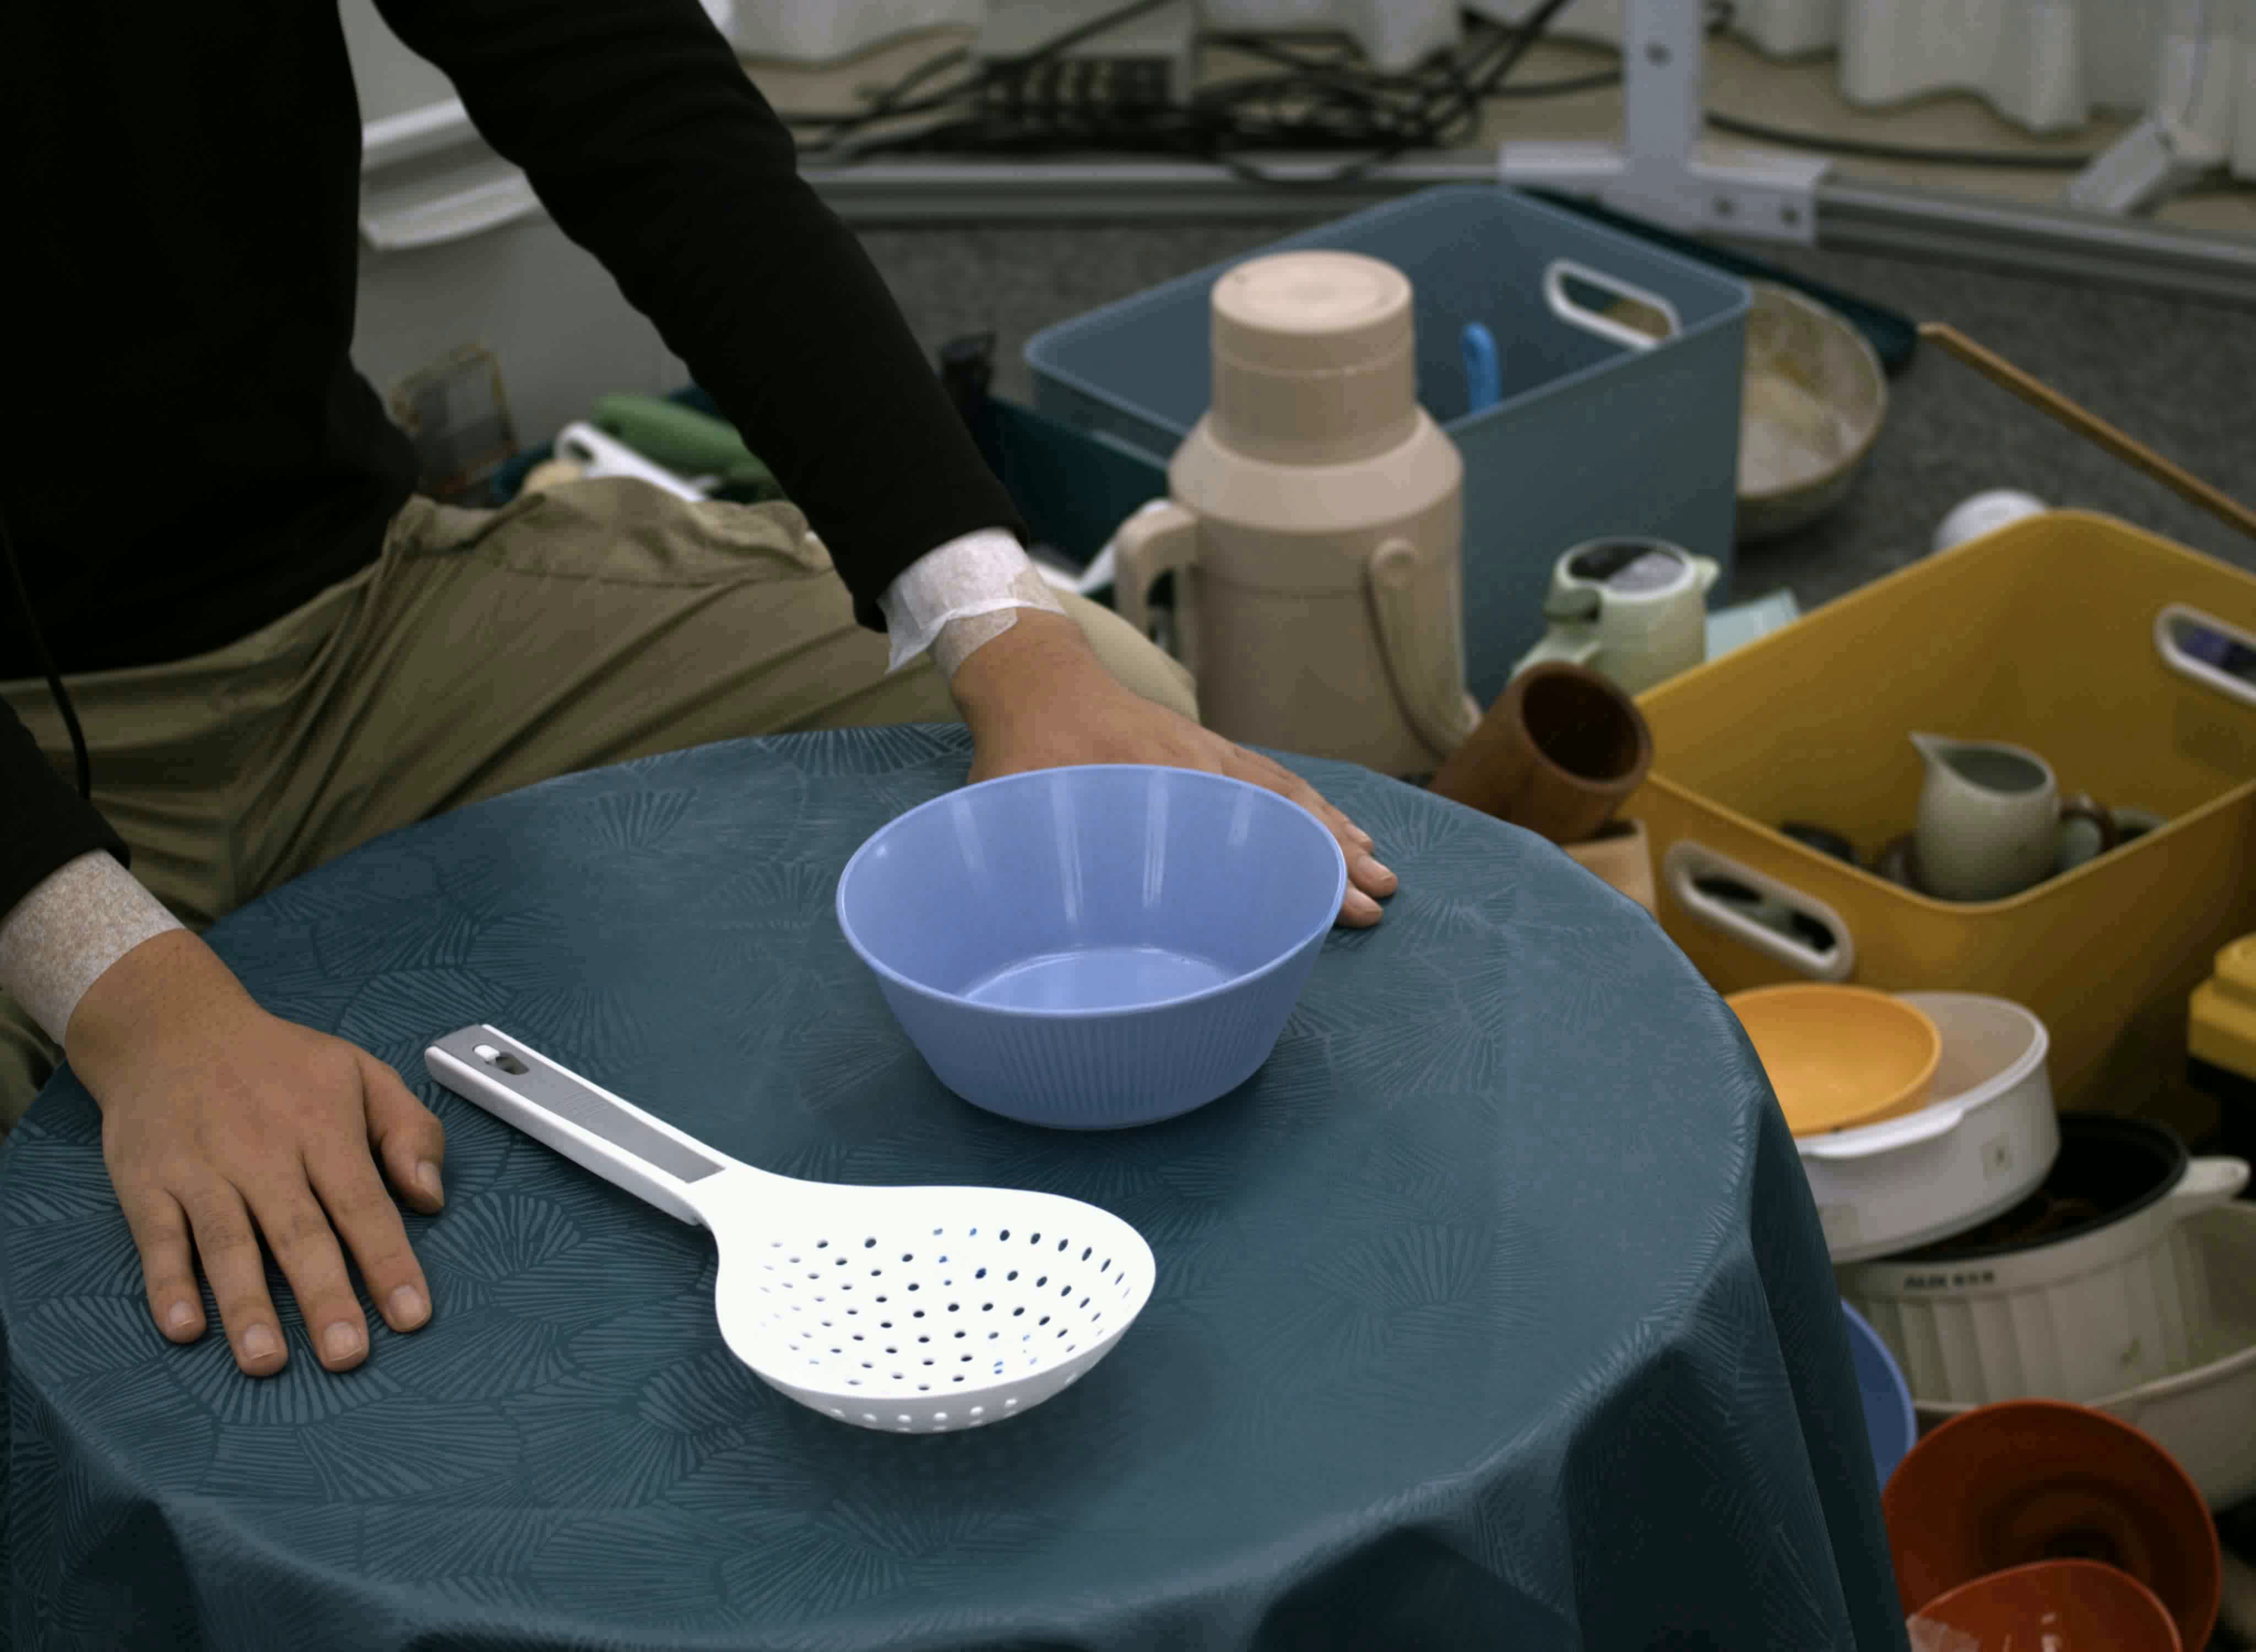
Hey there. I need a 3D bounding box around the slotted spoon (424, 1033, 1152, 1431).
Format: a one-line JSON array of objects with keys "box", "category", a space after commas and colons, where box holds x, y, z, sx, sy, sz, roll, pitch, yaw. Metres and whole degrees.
[{"box": [-0.127, 0.124, 1.821, 0.137, 0.045, 0.349, -23, 32, -33], "category": "slotted spoon"}]

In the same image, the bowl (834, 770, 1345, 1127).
[{"box": [-0.011, 0.047, 1.931, 0.175, 0.069, 0.178, -3, 26, 2], "category": "bowl"}]
